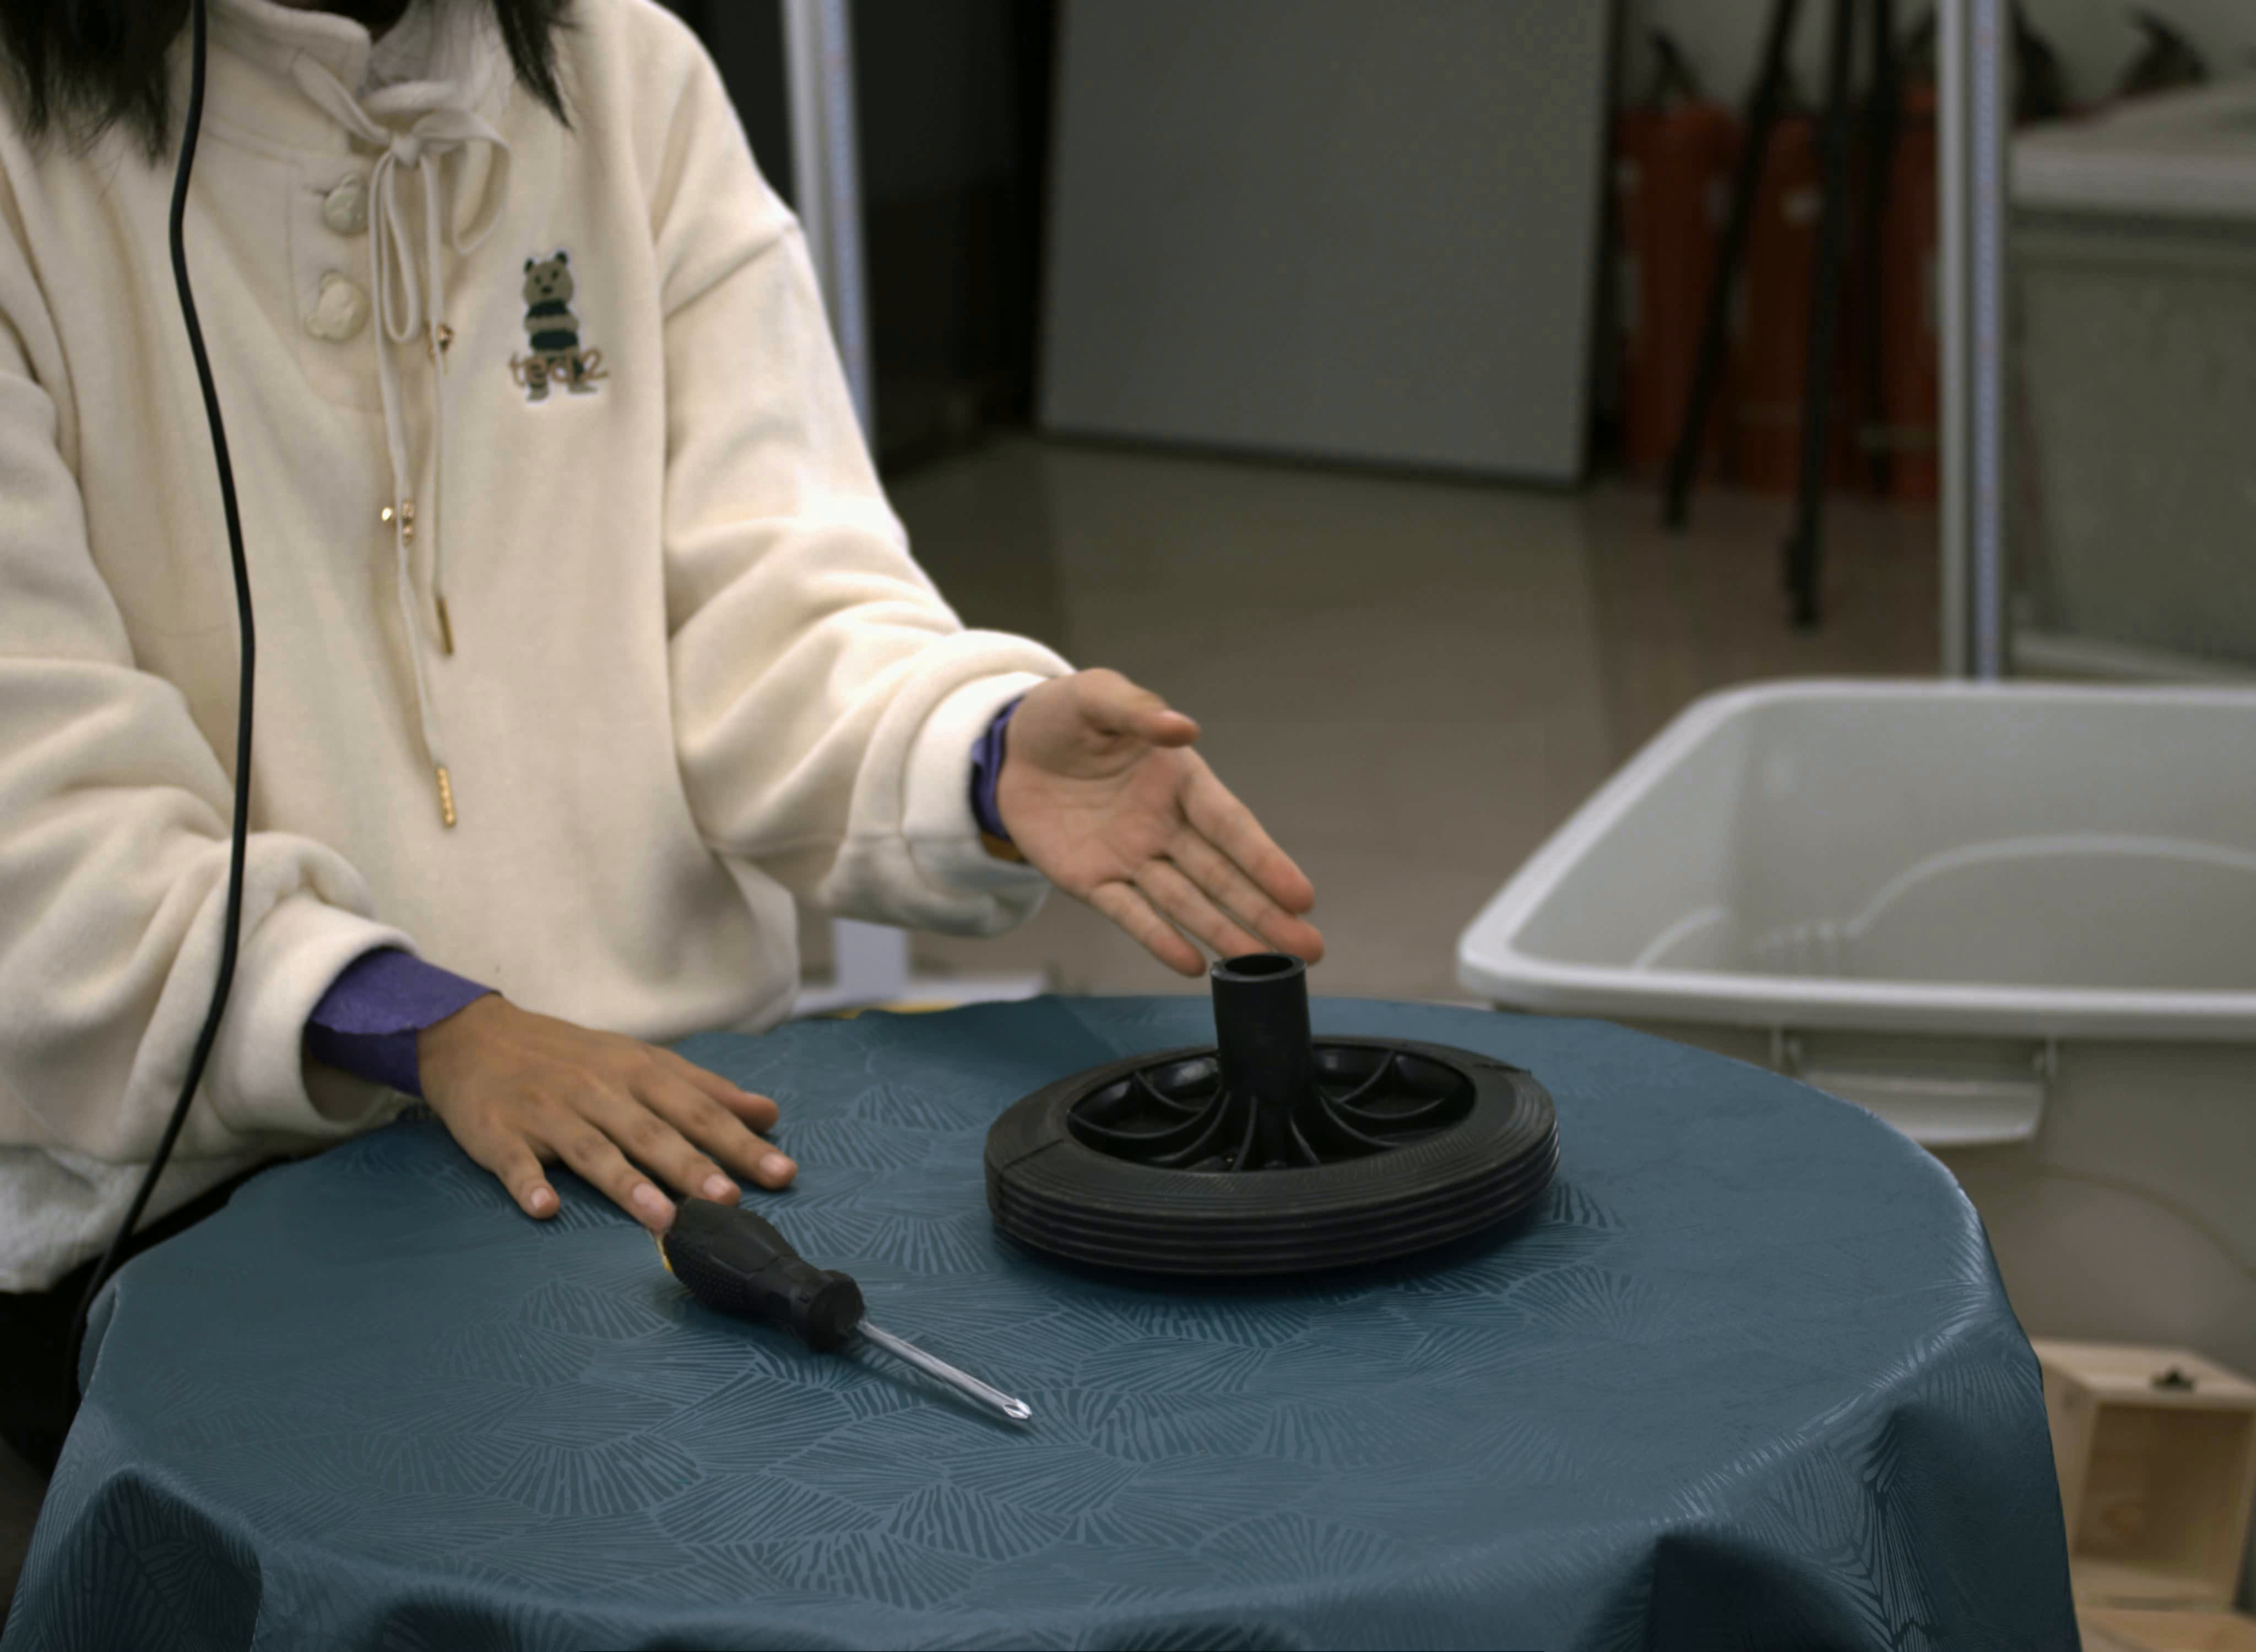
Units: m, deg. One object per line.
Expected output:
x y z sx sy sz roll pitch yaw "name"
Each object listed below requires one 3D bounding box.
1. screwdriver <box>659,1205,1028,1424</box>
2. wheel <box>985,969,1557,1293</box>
-0.083 0.148 1.634 0.031 0.032 0.198 -13 18 -36 "screwdriver"
0.044 0.089 1.734 0.187 0.080 0.188 -1 16 17 "wheel"
